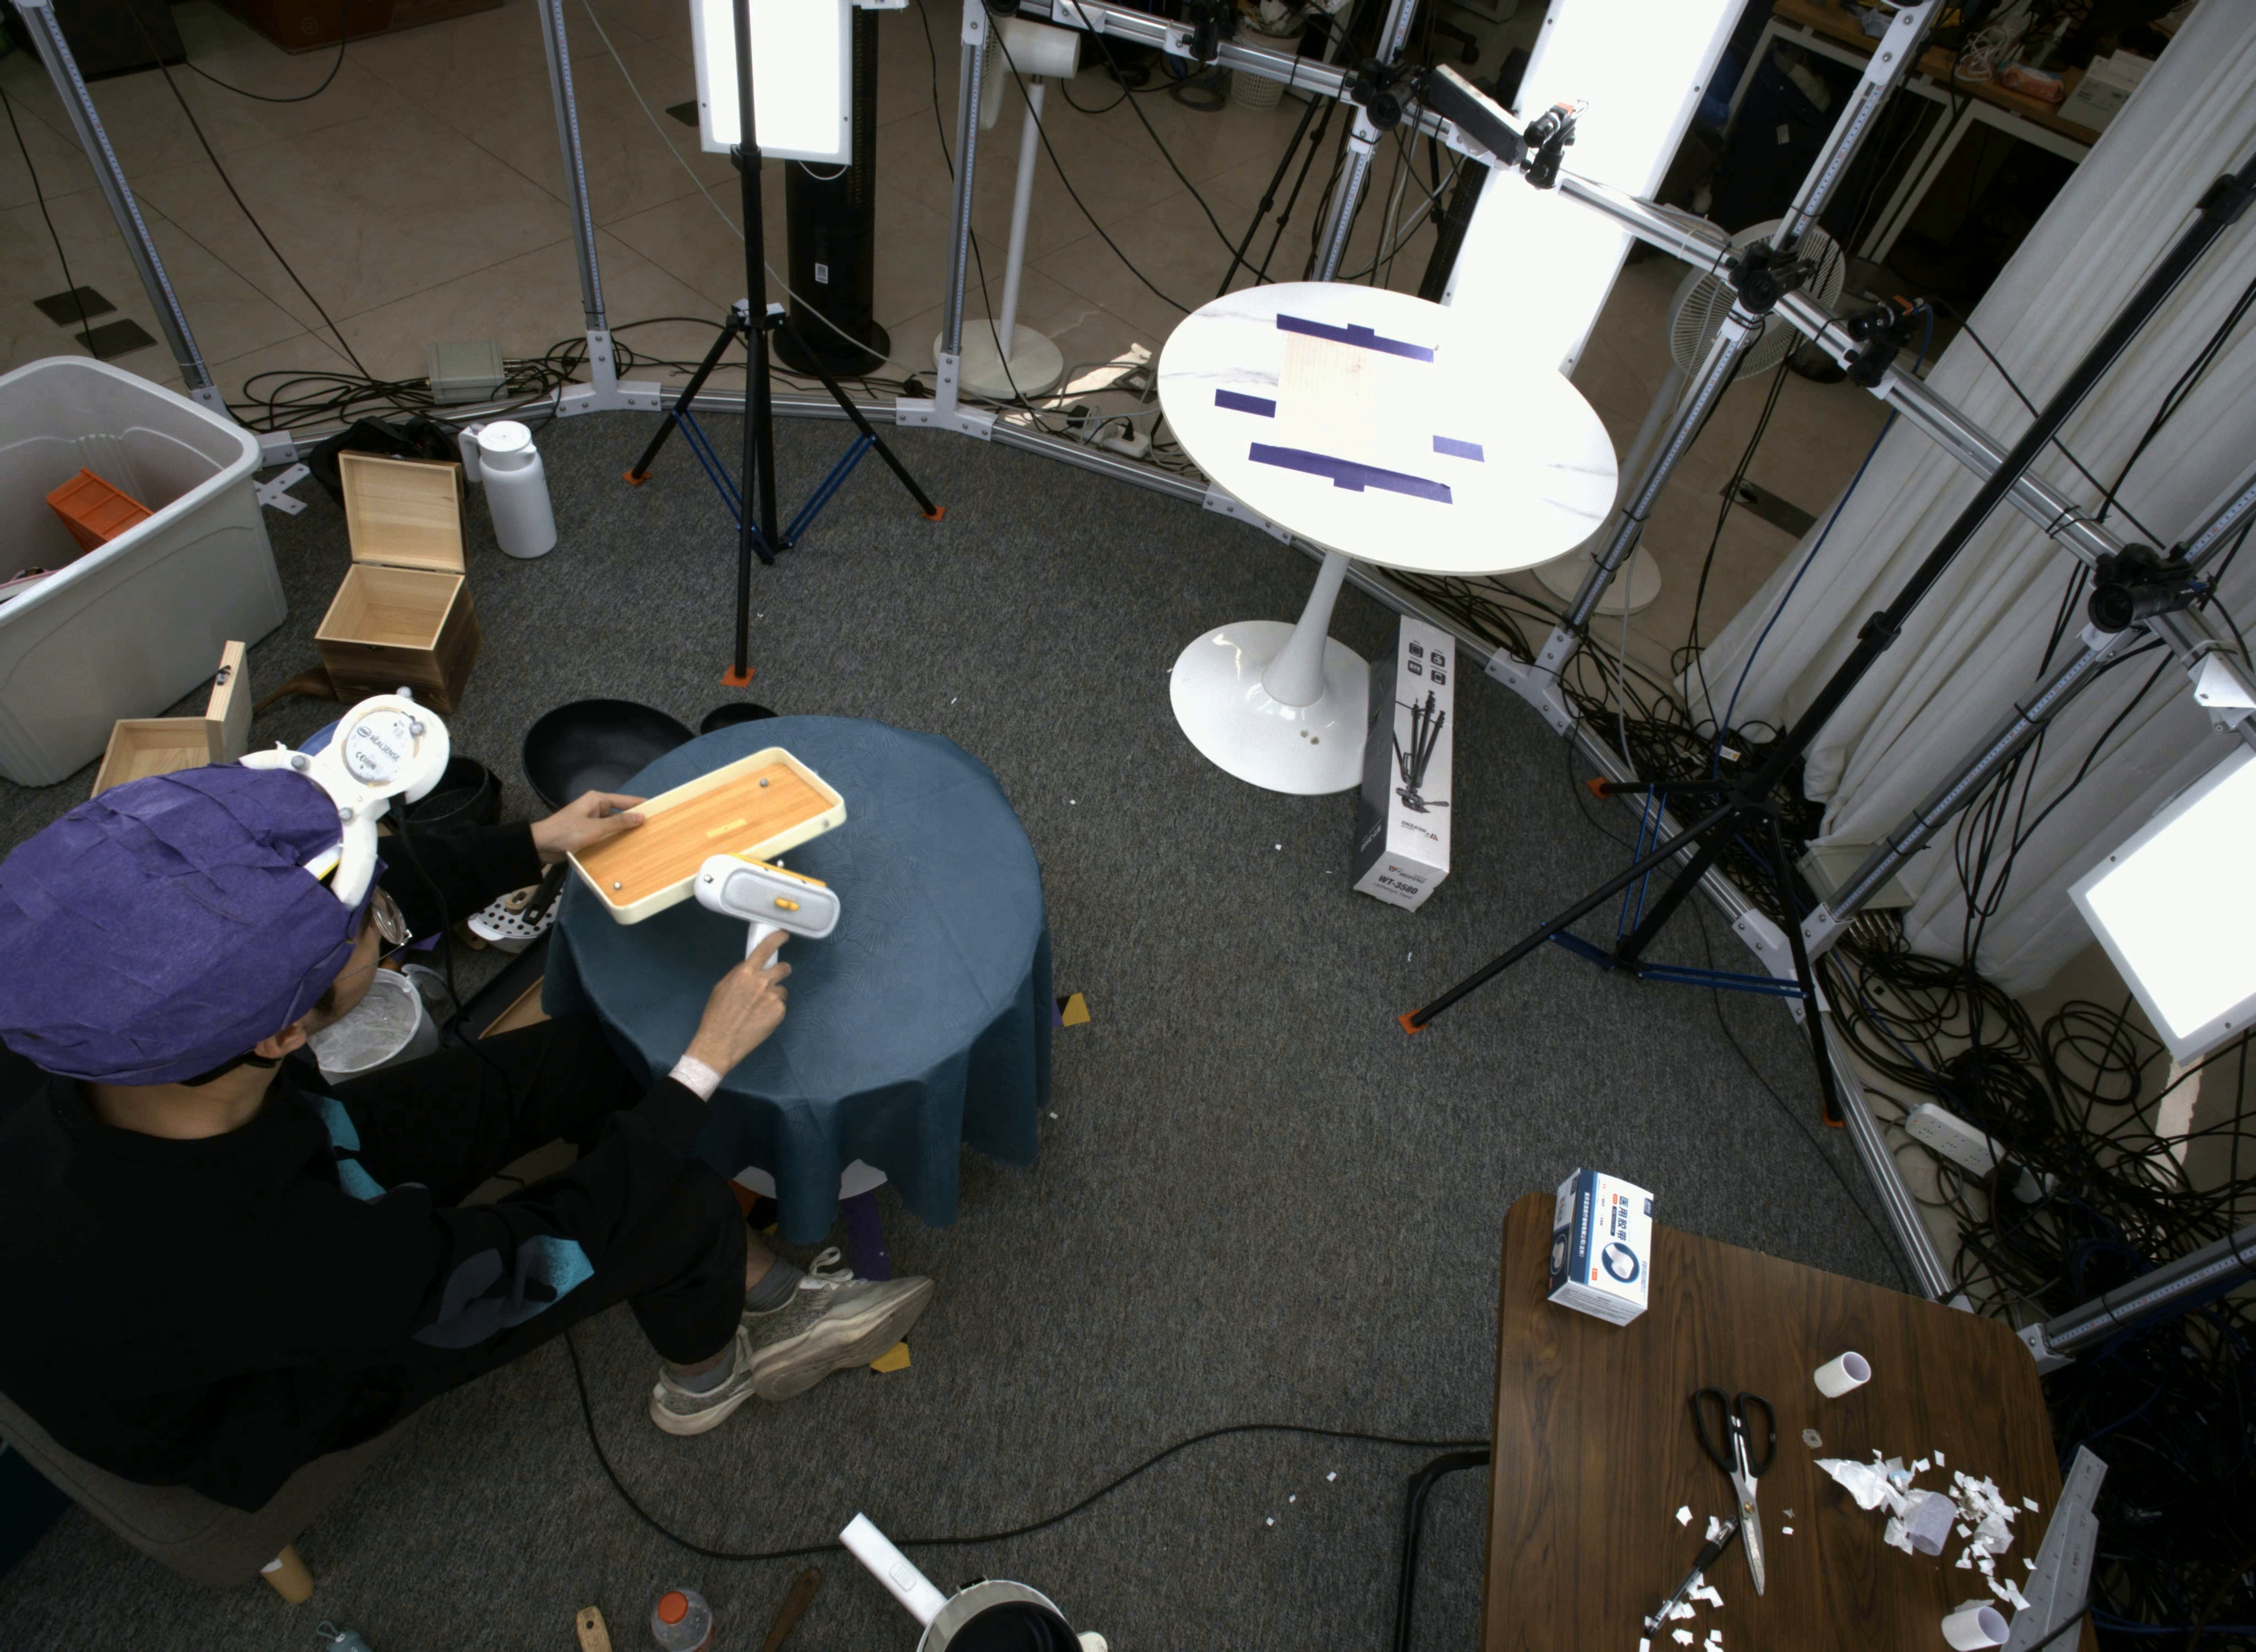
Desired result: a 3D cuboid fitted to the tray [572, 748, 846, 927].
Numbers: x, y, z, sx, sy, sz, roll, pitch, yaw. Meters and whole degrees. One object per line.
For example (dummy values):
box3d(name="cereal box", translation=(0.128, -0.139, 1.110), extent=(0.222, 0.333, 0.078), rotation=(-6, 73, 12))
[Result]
box3d(name="tray", translation=(-0.509, 0.005, 1.552), extent=(0.301, 0.028, 0.184), rotation=(-28, 43, -29))

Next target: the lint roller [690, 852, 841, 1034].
box3d(name="lint roller", translation=(-0.419, 0.138, 1.494), extent=(0.072, 0.198, 0.193), rotation=(3, 81, 33))
